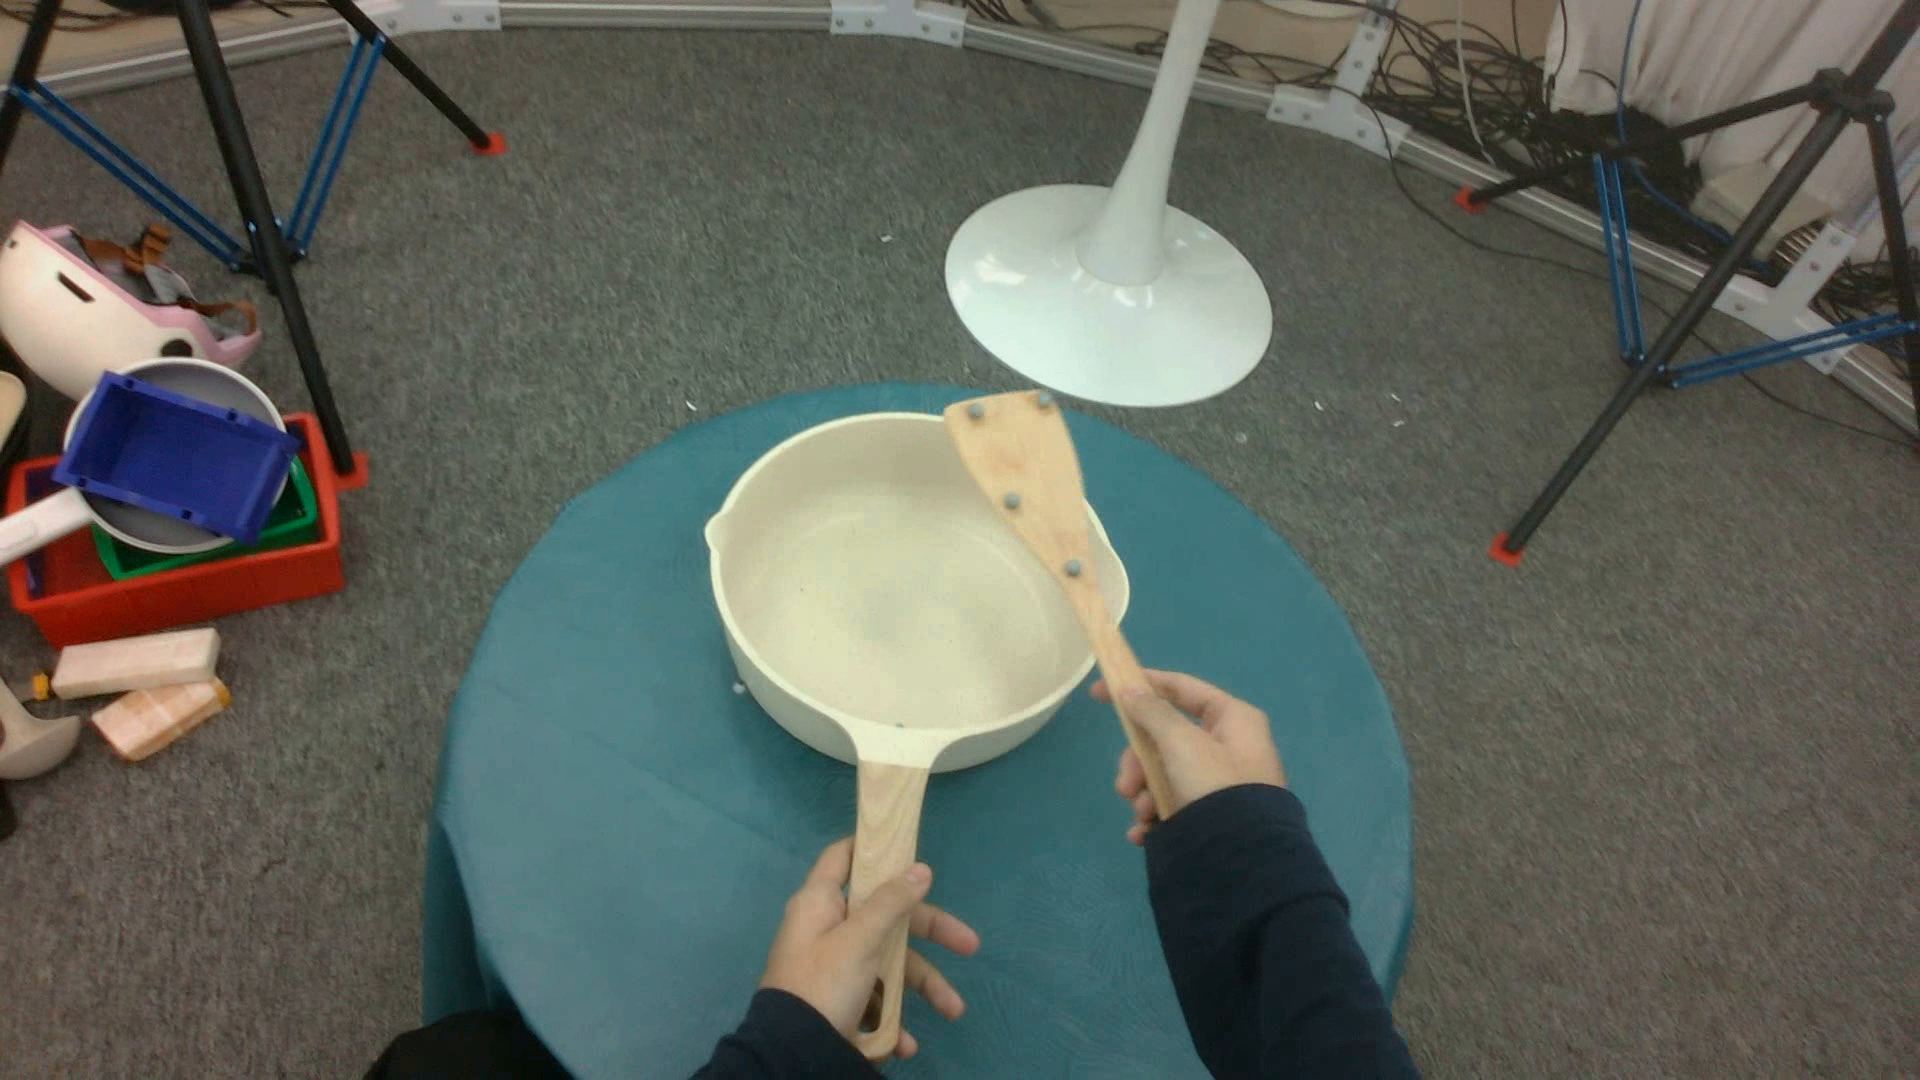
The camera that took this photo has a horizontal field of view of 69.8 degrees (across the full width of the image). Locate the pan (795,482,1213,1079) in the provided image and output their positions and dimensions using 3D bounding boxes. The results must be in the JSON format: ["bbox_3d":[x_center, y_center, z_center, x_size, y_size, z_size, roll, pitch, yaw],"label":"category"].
[{"bbox_3d":[0.013,0.147,0.816,0.263,0.101,0.437,10,49,-1],"label":"pan"}]

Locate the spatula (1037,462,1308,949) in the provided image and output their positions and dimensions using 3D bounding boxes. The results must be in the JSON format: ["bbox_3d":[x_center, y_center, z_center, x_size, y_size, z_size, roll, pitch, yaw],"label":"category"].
[{"bbox_3d":[0.116,0.071,0.747,0.080,0.016,0.329,0,45,-19],"label":"spatula"}]
